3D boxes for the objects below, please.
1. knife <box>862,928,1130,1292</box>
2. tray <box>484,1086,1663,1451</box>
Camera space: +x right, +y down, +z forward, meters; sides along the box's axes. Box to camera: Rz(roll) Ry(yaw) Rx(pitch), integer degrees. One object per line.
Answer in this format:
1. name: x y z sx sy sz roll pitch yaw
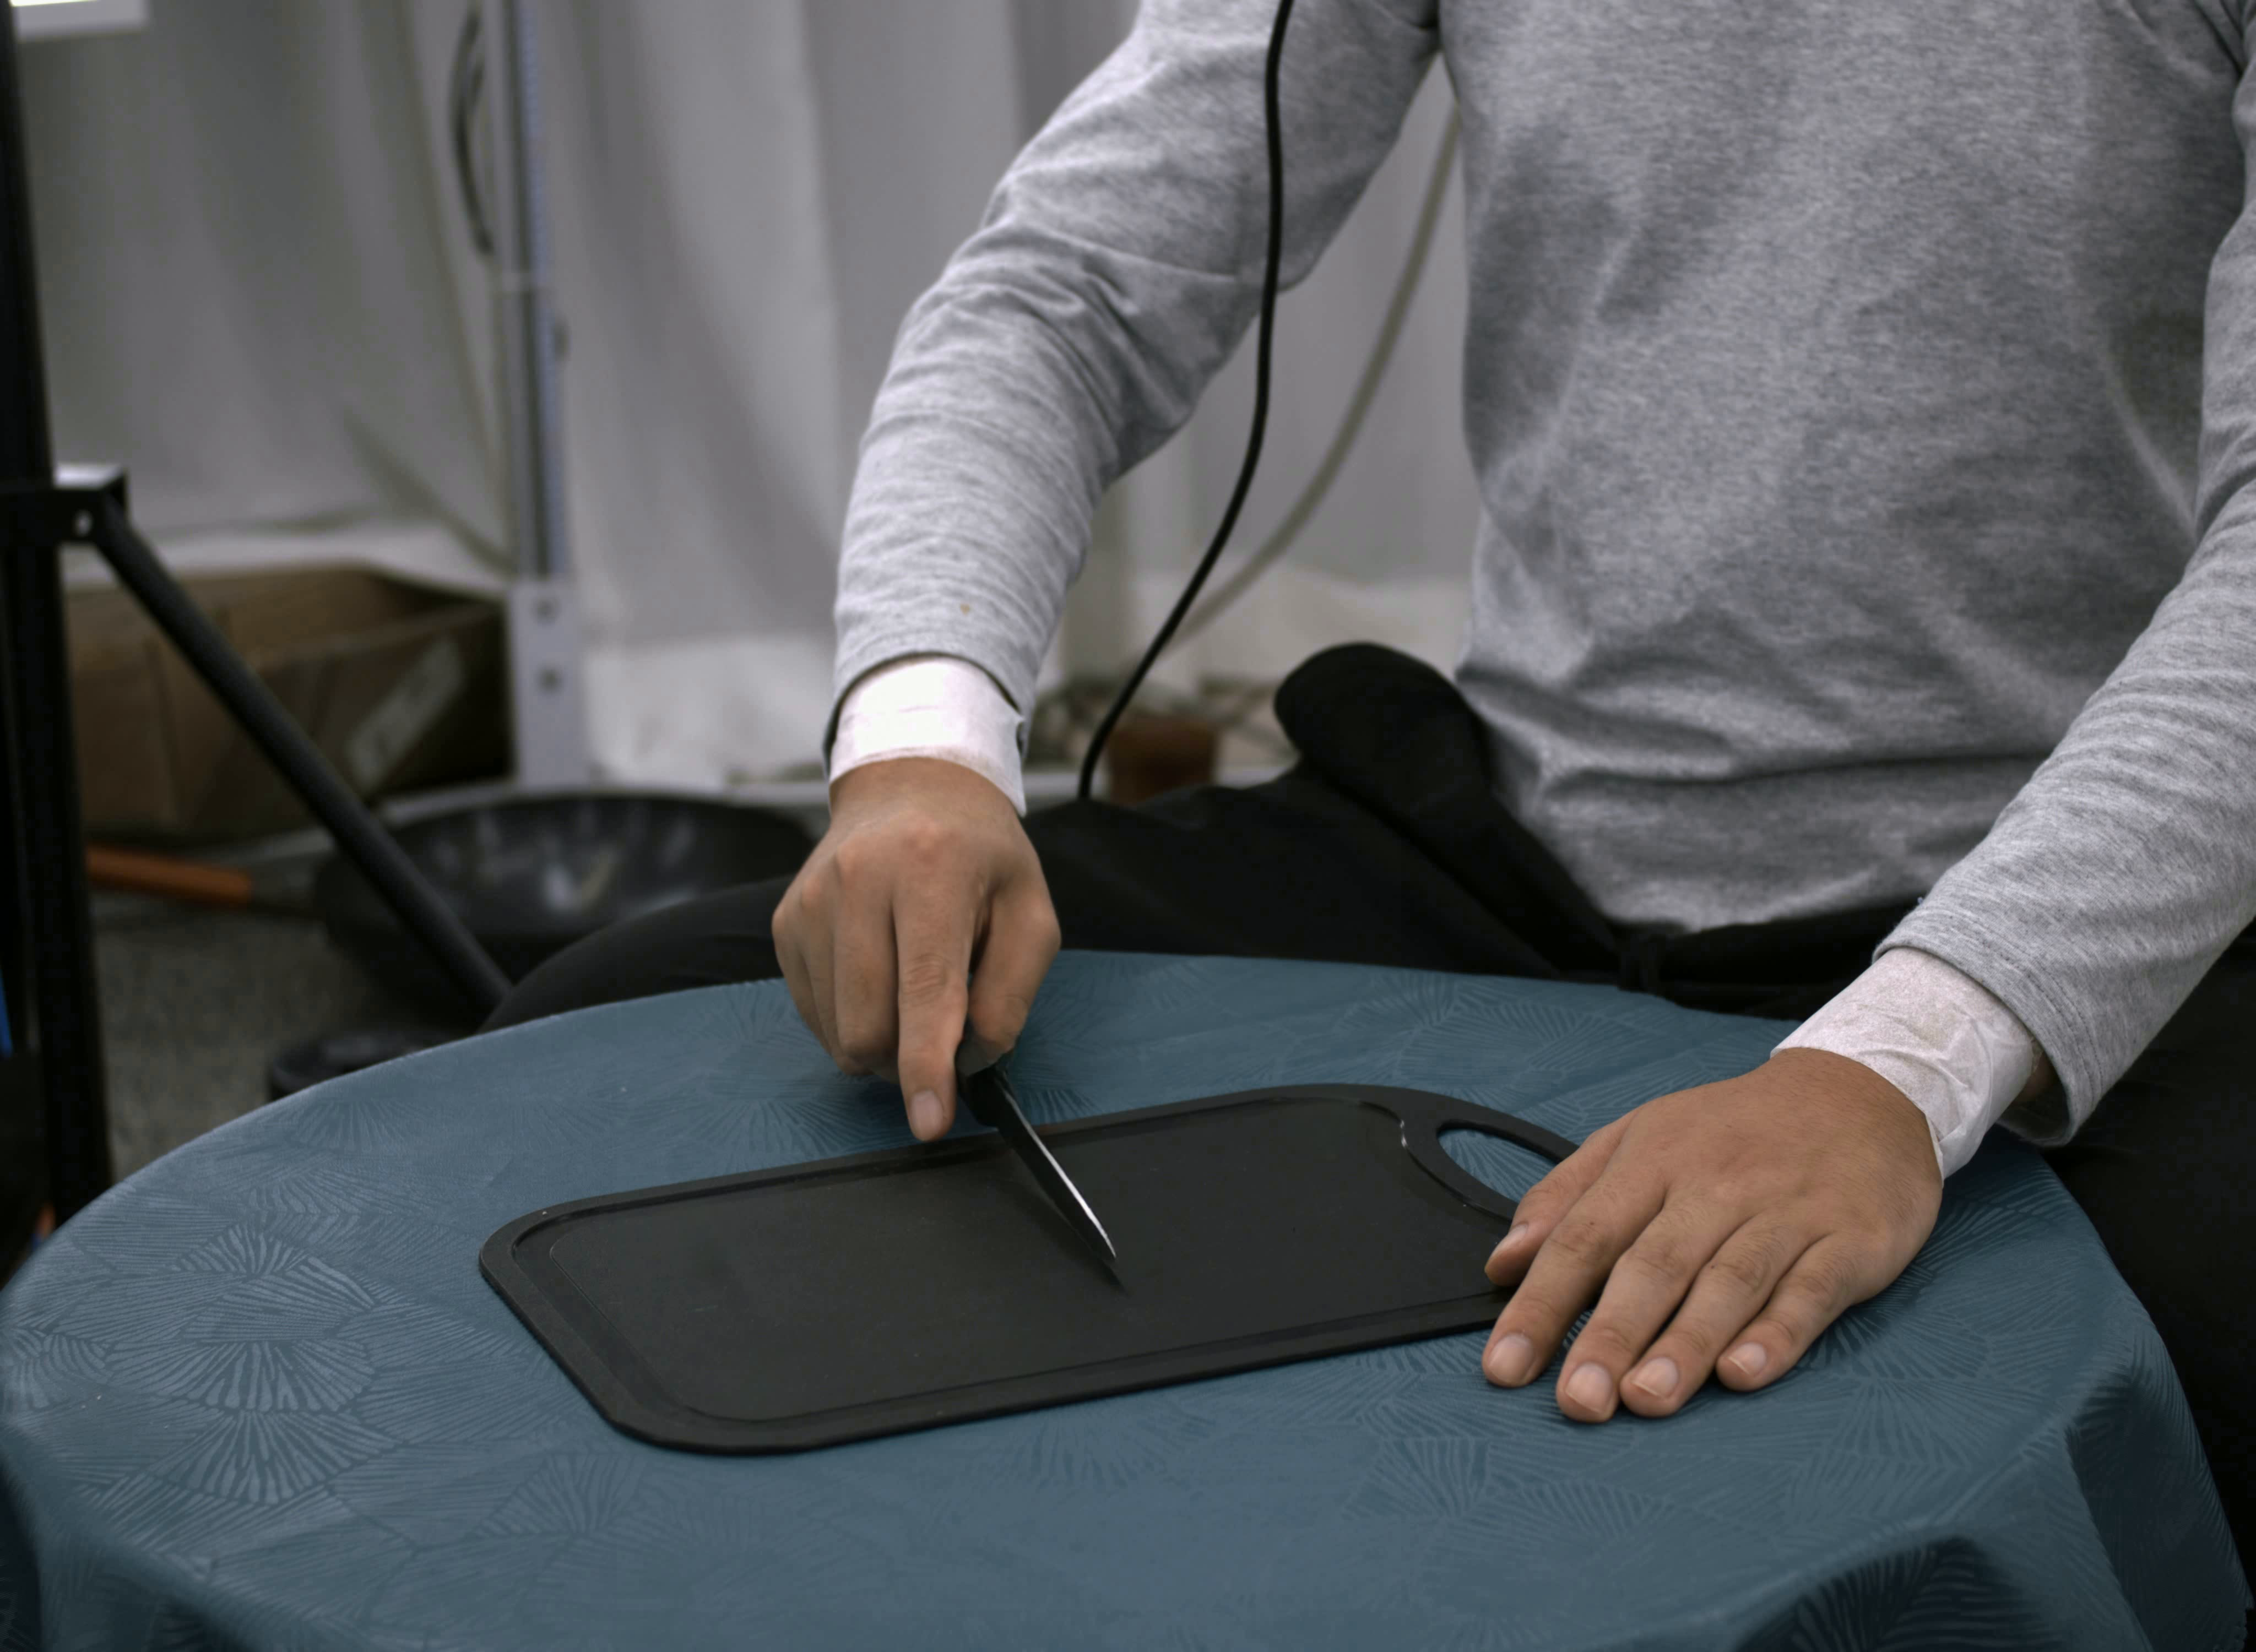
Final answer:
1. knife: -0.039 0.083 1.580 0.016 0.024 0.242 -22 28 -11
2. tray: -0.011 0.119 1.513 0.319 0.010 0.215 -8 17 -19
